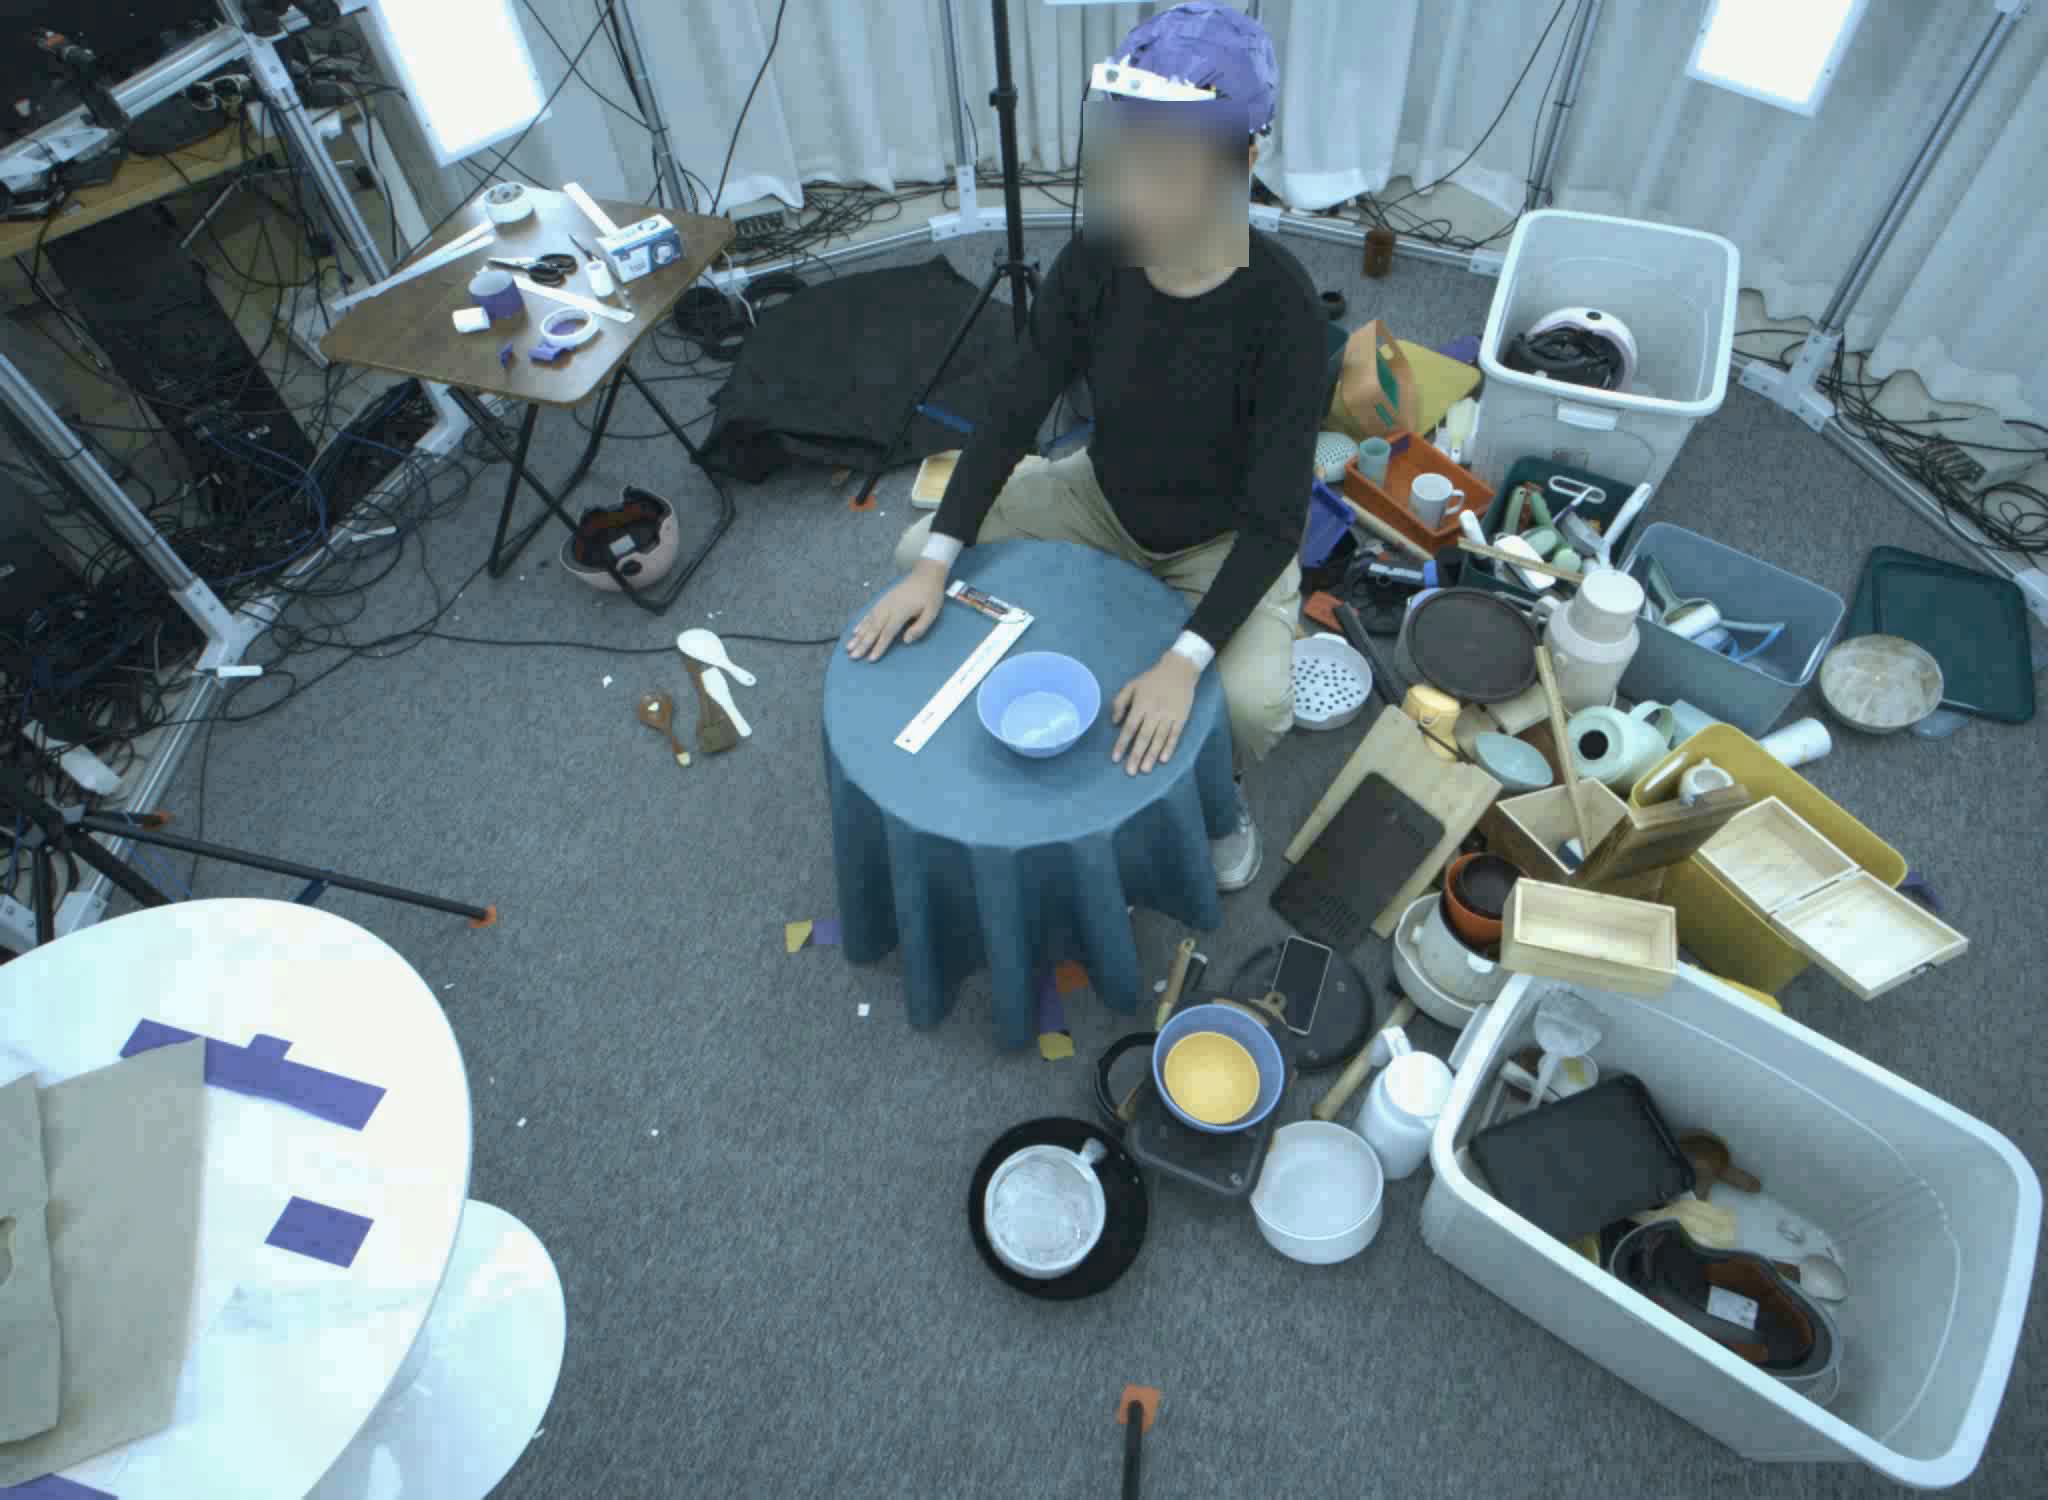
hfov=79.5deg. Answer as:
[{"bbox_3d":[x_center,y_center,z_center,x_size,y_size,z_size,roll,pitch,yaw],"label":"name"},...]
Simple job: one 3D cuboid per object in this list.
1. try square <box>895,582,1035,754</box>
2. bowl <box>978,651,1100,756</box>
[{"bbox_3d":[-0.130,-0.132,1.885,0.149,0.016,0.314,26,61,24],"label":"try square"},{"bbox_3d":[0.023,-0.056,1.784,0.176,0.071,0.174,-1,55,2],"label":"bowl"}]
